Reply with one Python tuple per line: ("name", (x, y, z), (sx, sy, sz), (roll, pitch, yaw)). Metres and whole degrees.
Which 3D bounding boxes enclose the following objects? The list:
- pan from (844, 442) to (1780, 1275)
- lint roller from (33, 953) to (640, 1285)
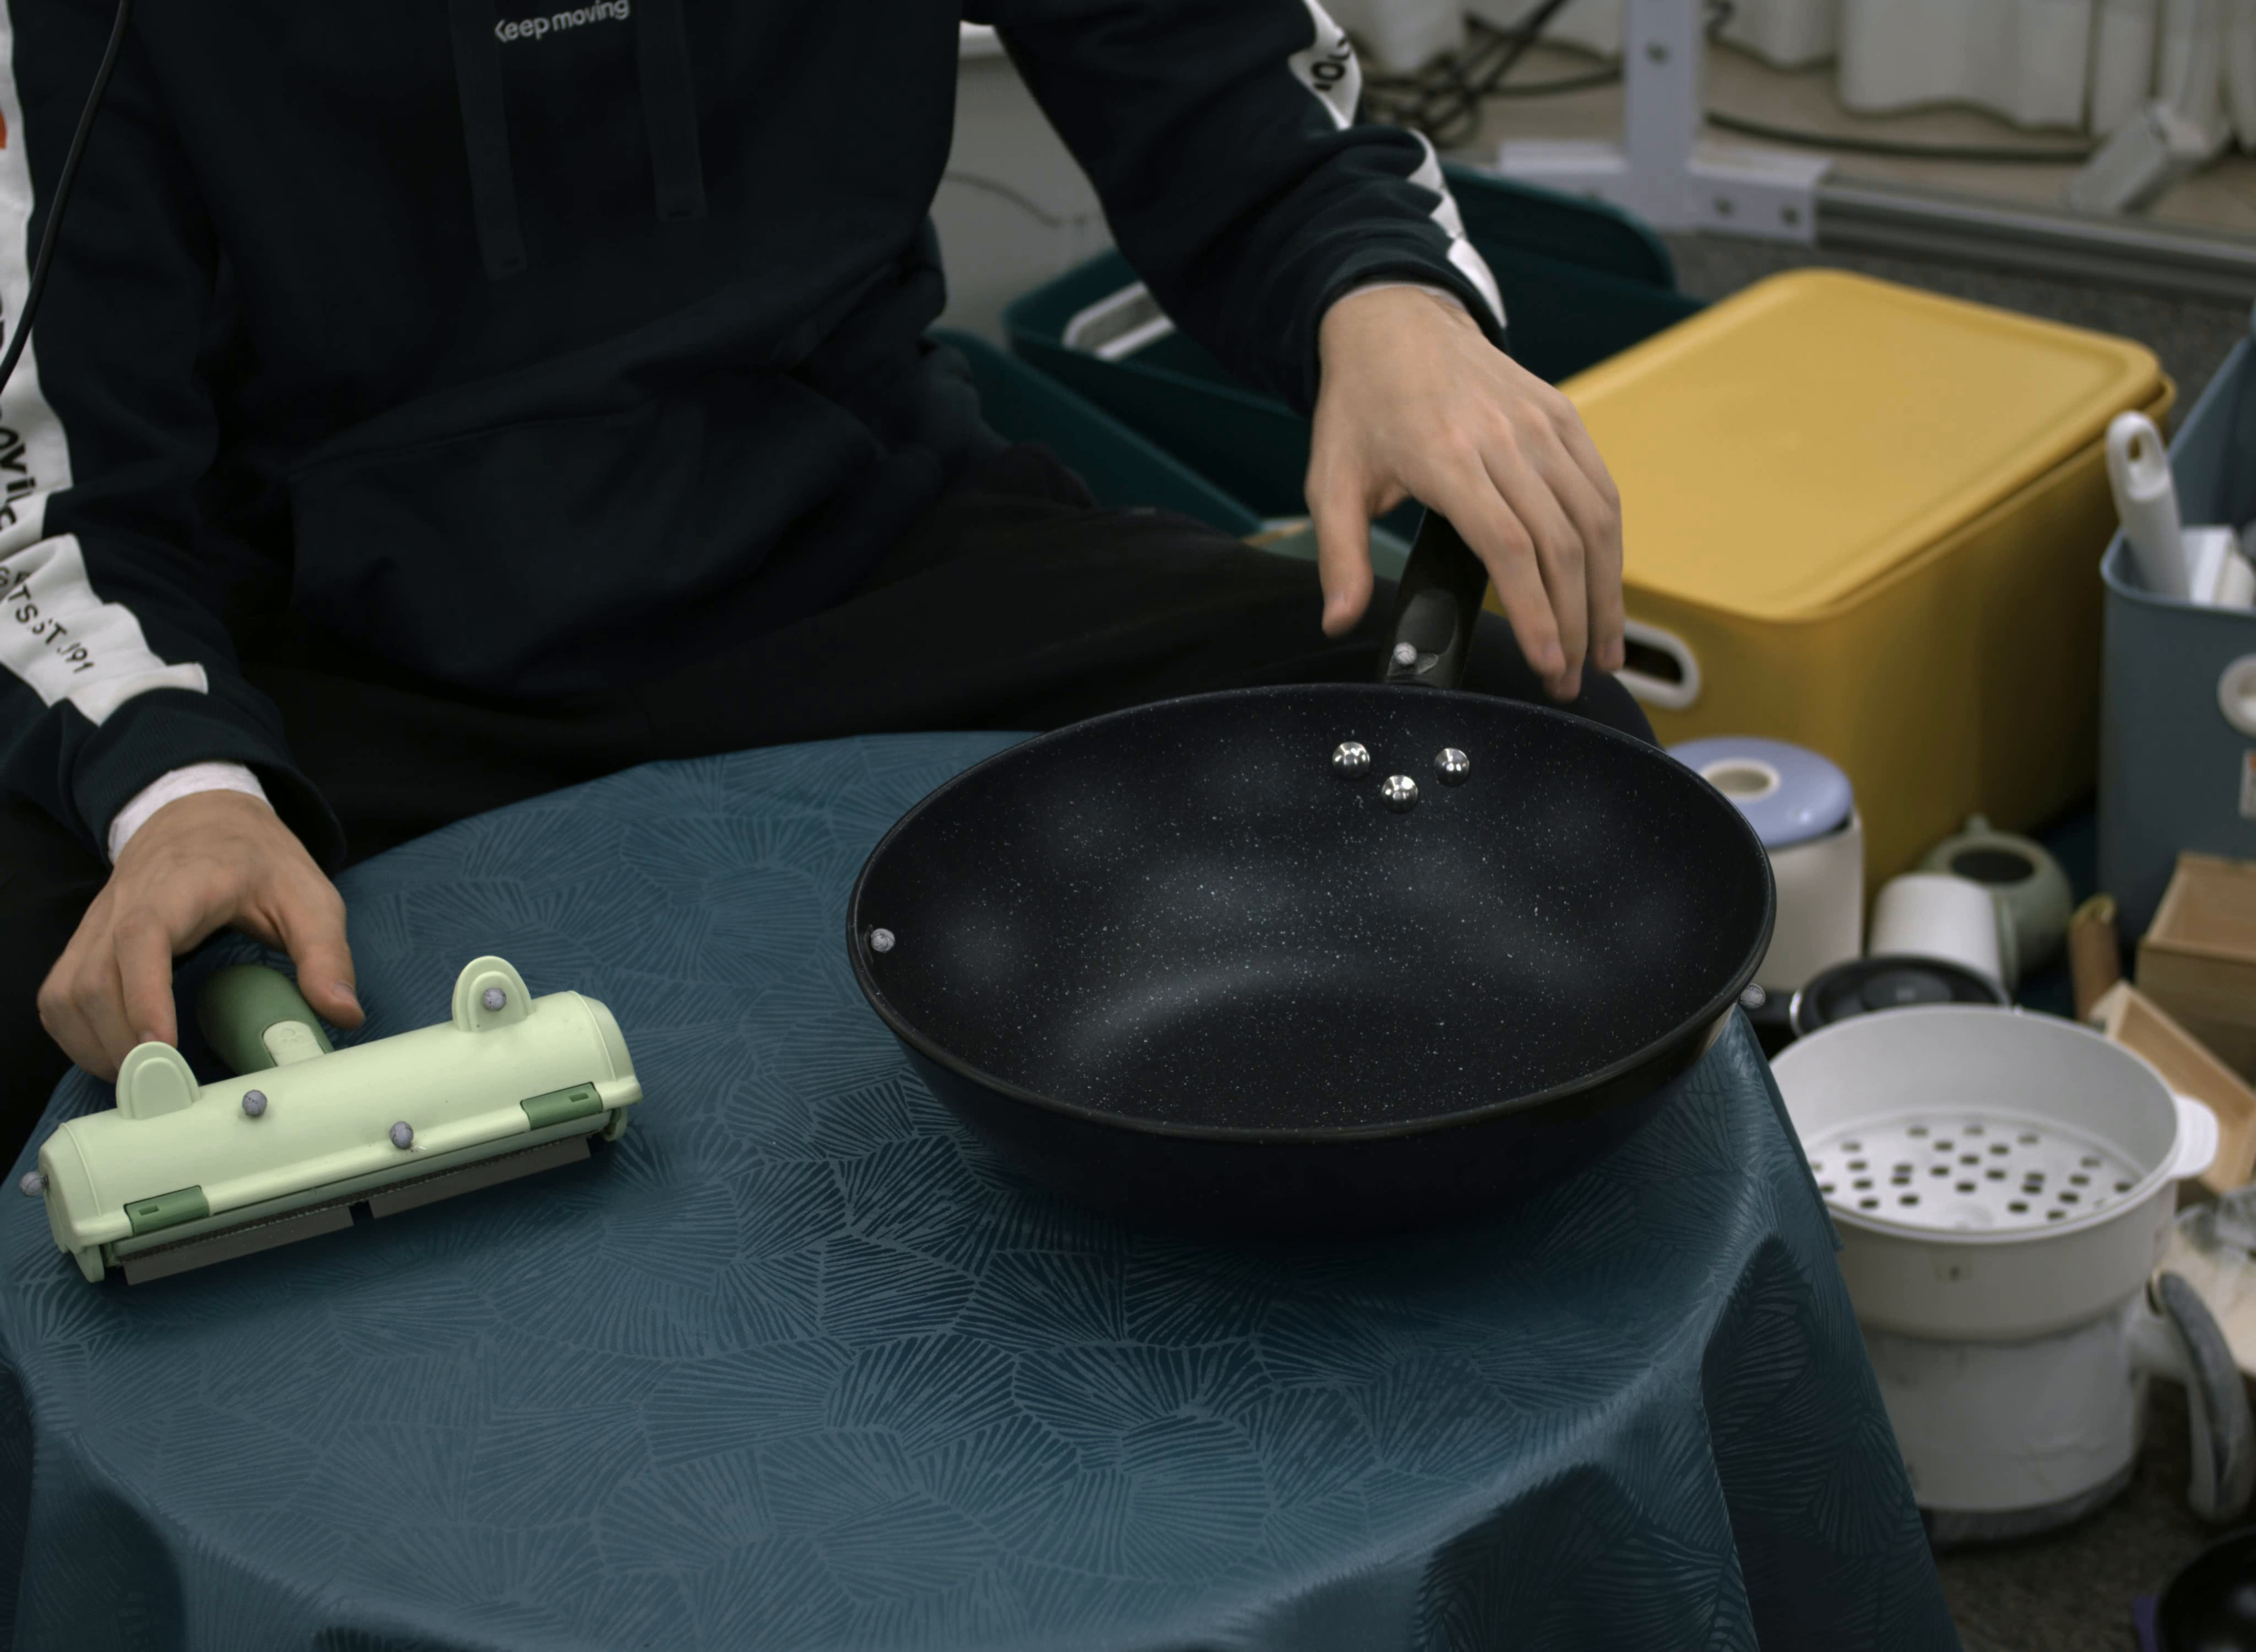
("pan", (0.081, 0.015, 1.944), (0.308, 0.110, 0.485), (5, 29, 13))
("lint roller", (-0.285, 0.071, 1.905), (0.199, 0.081, 0.185), (-14, 34, -20))
